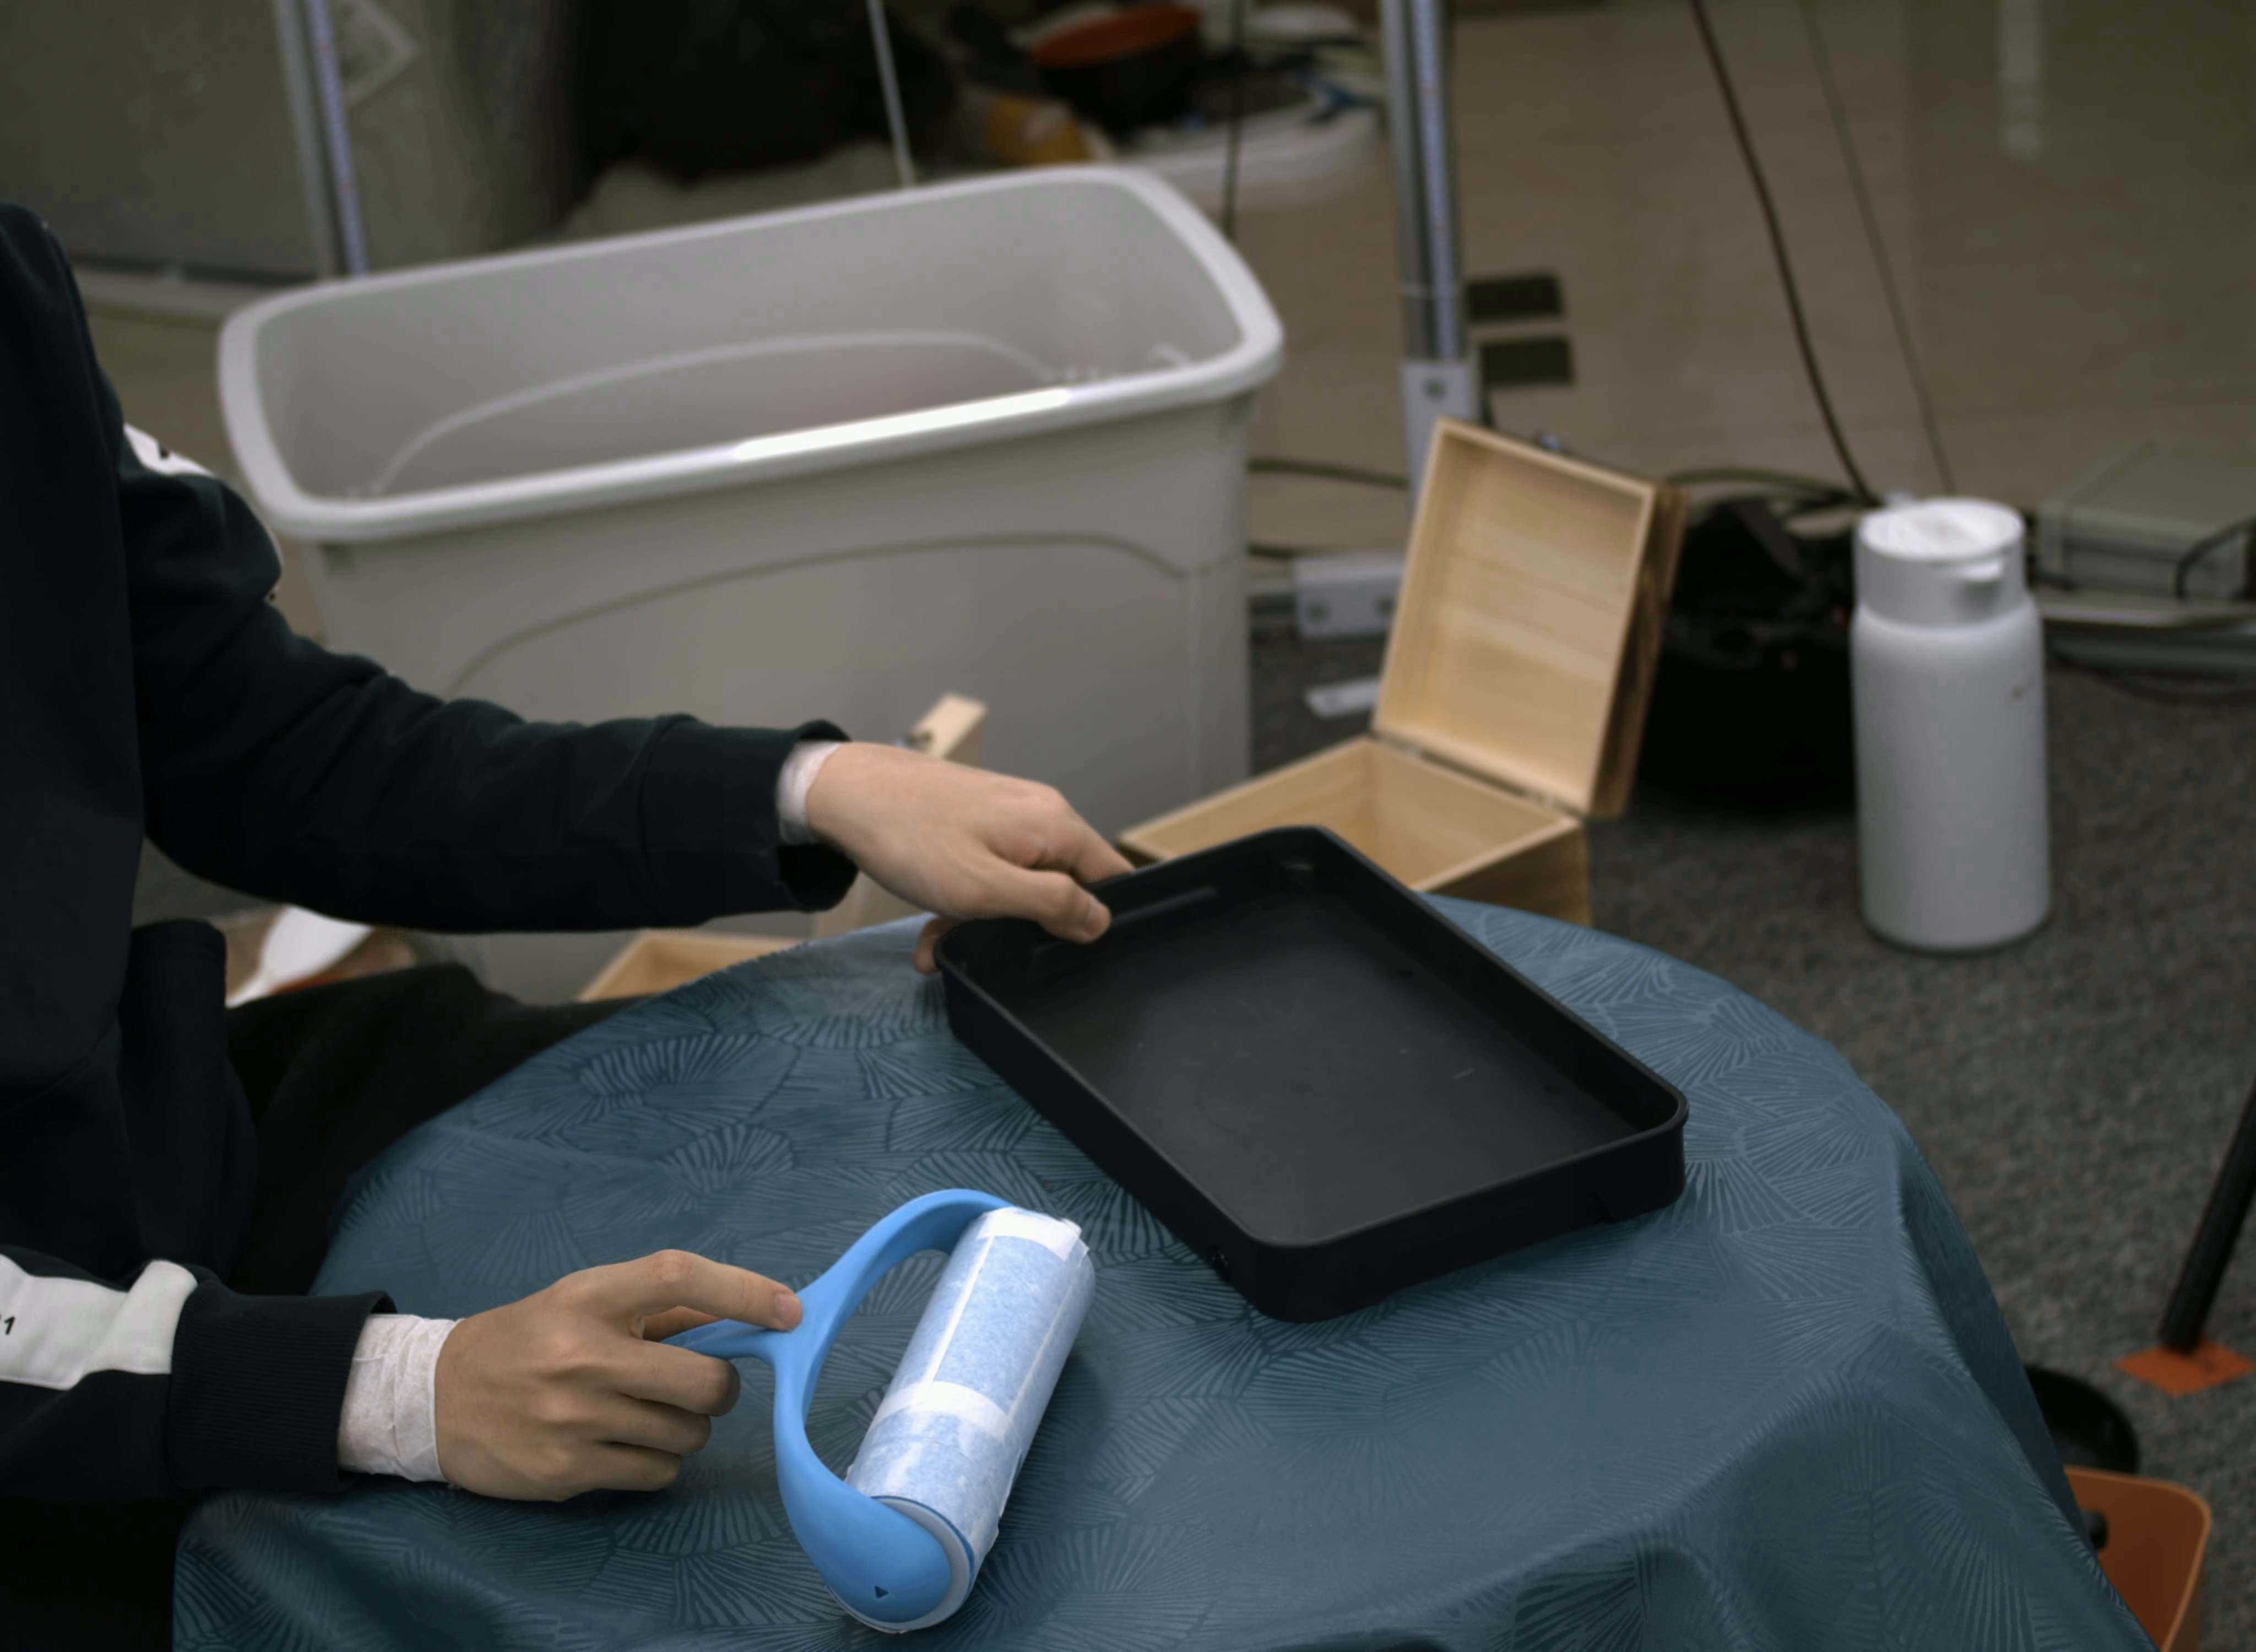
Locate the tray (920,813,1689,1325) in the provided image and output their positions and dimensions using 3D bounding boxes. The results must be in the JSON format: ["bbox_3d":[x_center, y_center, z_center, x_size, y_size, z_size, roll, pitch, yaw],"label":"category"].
[{"bbox_3d":[0.064,0.088,2.191,0.183,0.037,0.314,-18,30,-22],"label":"tray"}]

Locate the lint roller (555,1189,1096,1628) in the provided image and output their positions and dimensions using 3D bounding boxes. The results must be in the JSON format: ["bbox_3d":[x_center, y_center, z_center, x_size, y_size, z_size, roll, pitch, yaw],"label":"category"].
[{"bbox_3d":[-0.115,0.199,1.969,0.180,0.069,0.225,2,28,9],"label":"lint roller"}]
